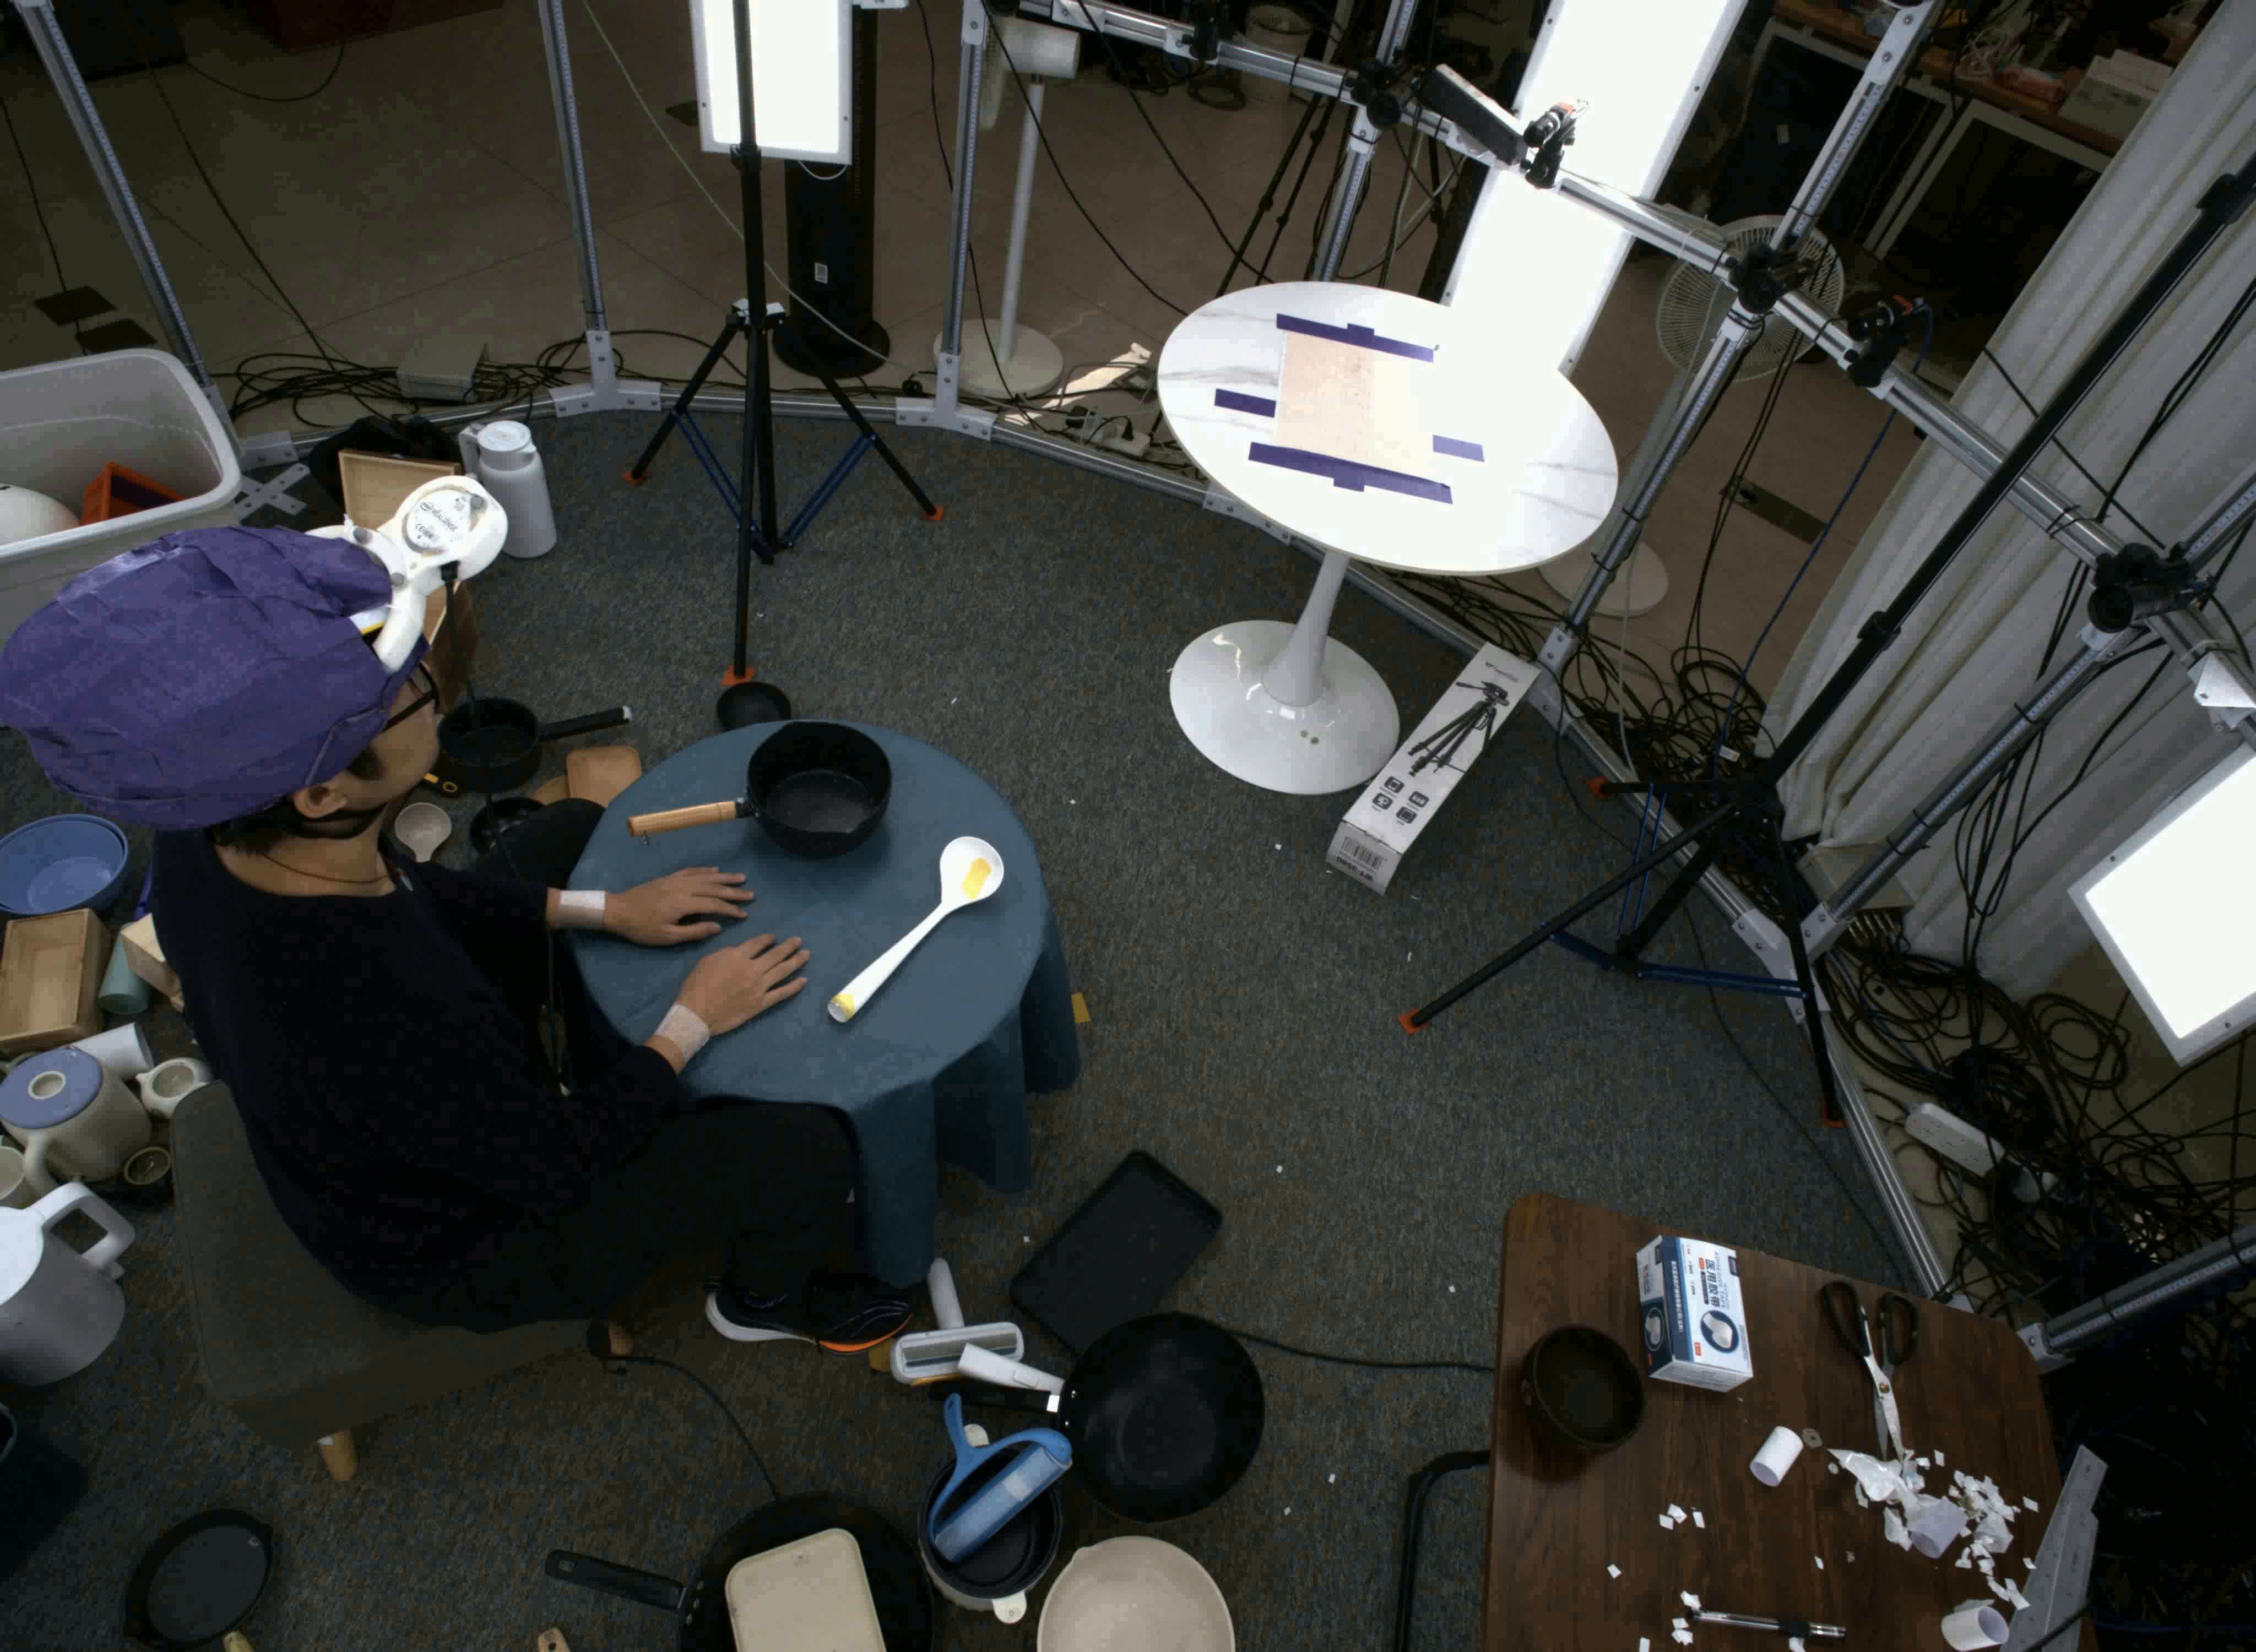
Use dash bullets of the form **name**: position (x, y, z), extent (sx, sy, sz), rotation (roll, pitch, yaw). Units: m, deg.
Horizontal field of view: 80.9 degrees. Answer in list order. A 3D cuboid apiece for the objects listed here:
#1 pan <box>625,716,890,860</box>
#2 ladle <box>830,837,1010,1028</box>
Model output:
- **pan**: position (-0.469, -0.024, 1.650), extent (0.345, 0.110, 0.202), rotation (-21, 62, -29)
- **ladle**: position (-0.260, 0.130, 1.618), extent (0.089, 0.071, 0.292), rotation (38, 54, 7)
